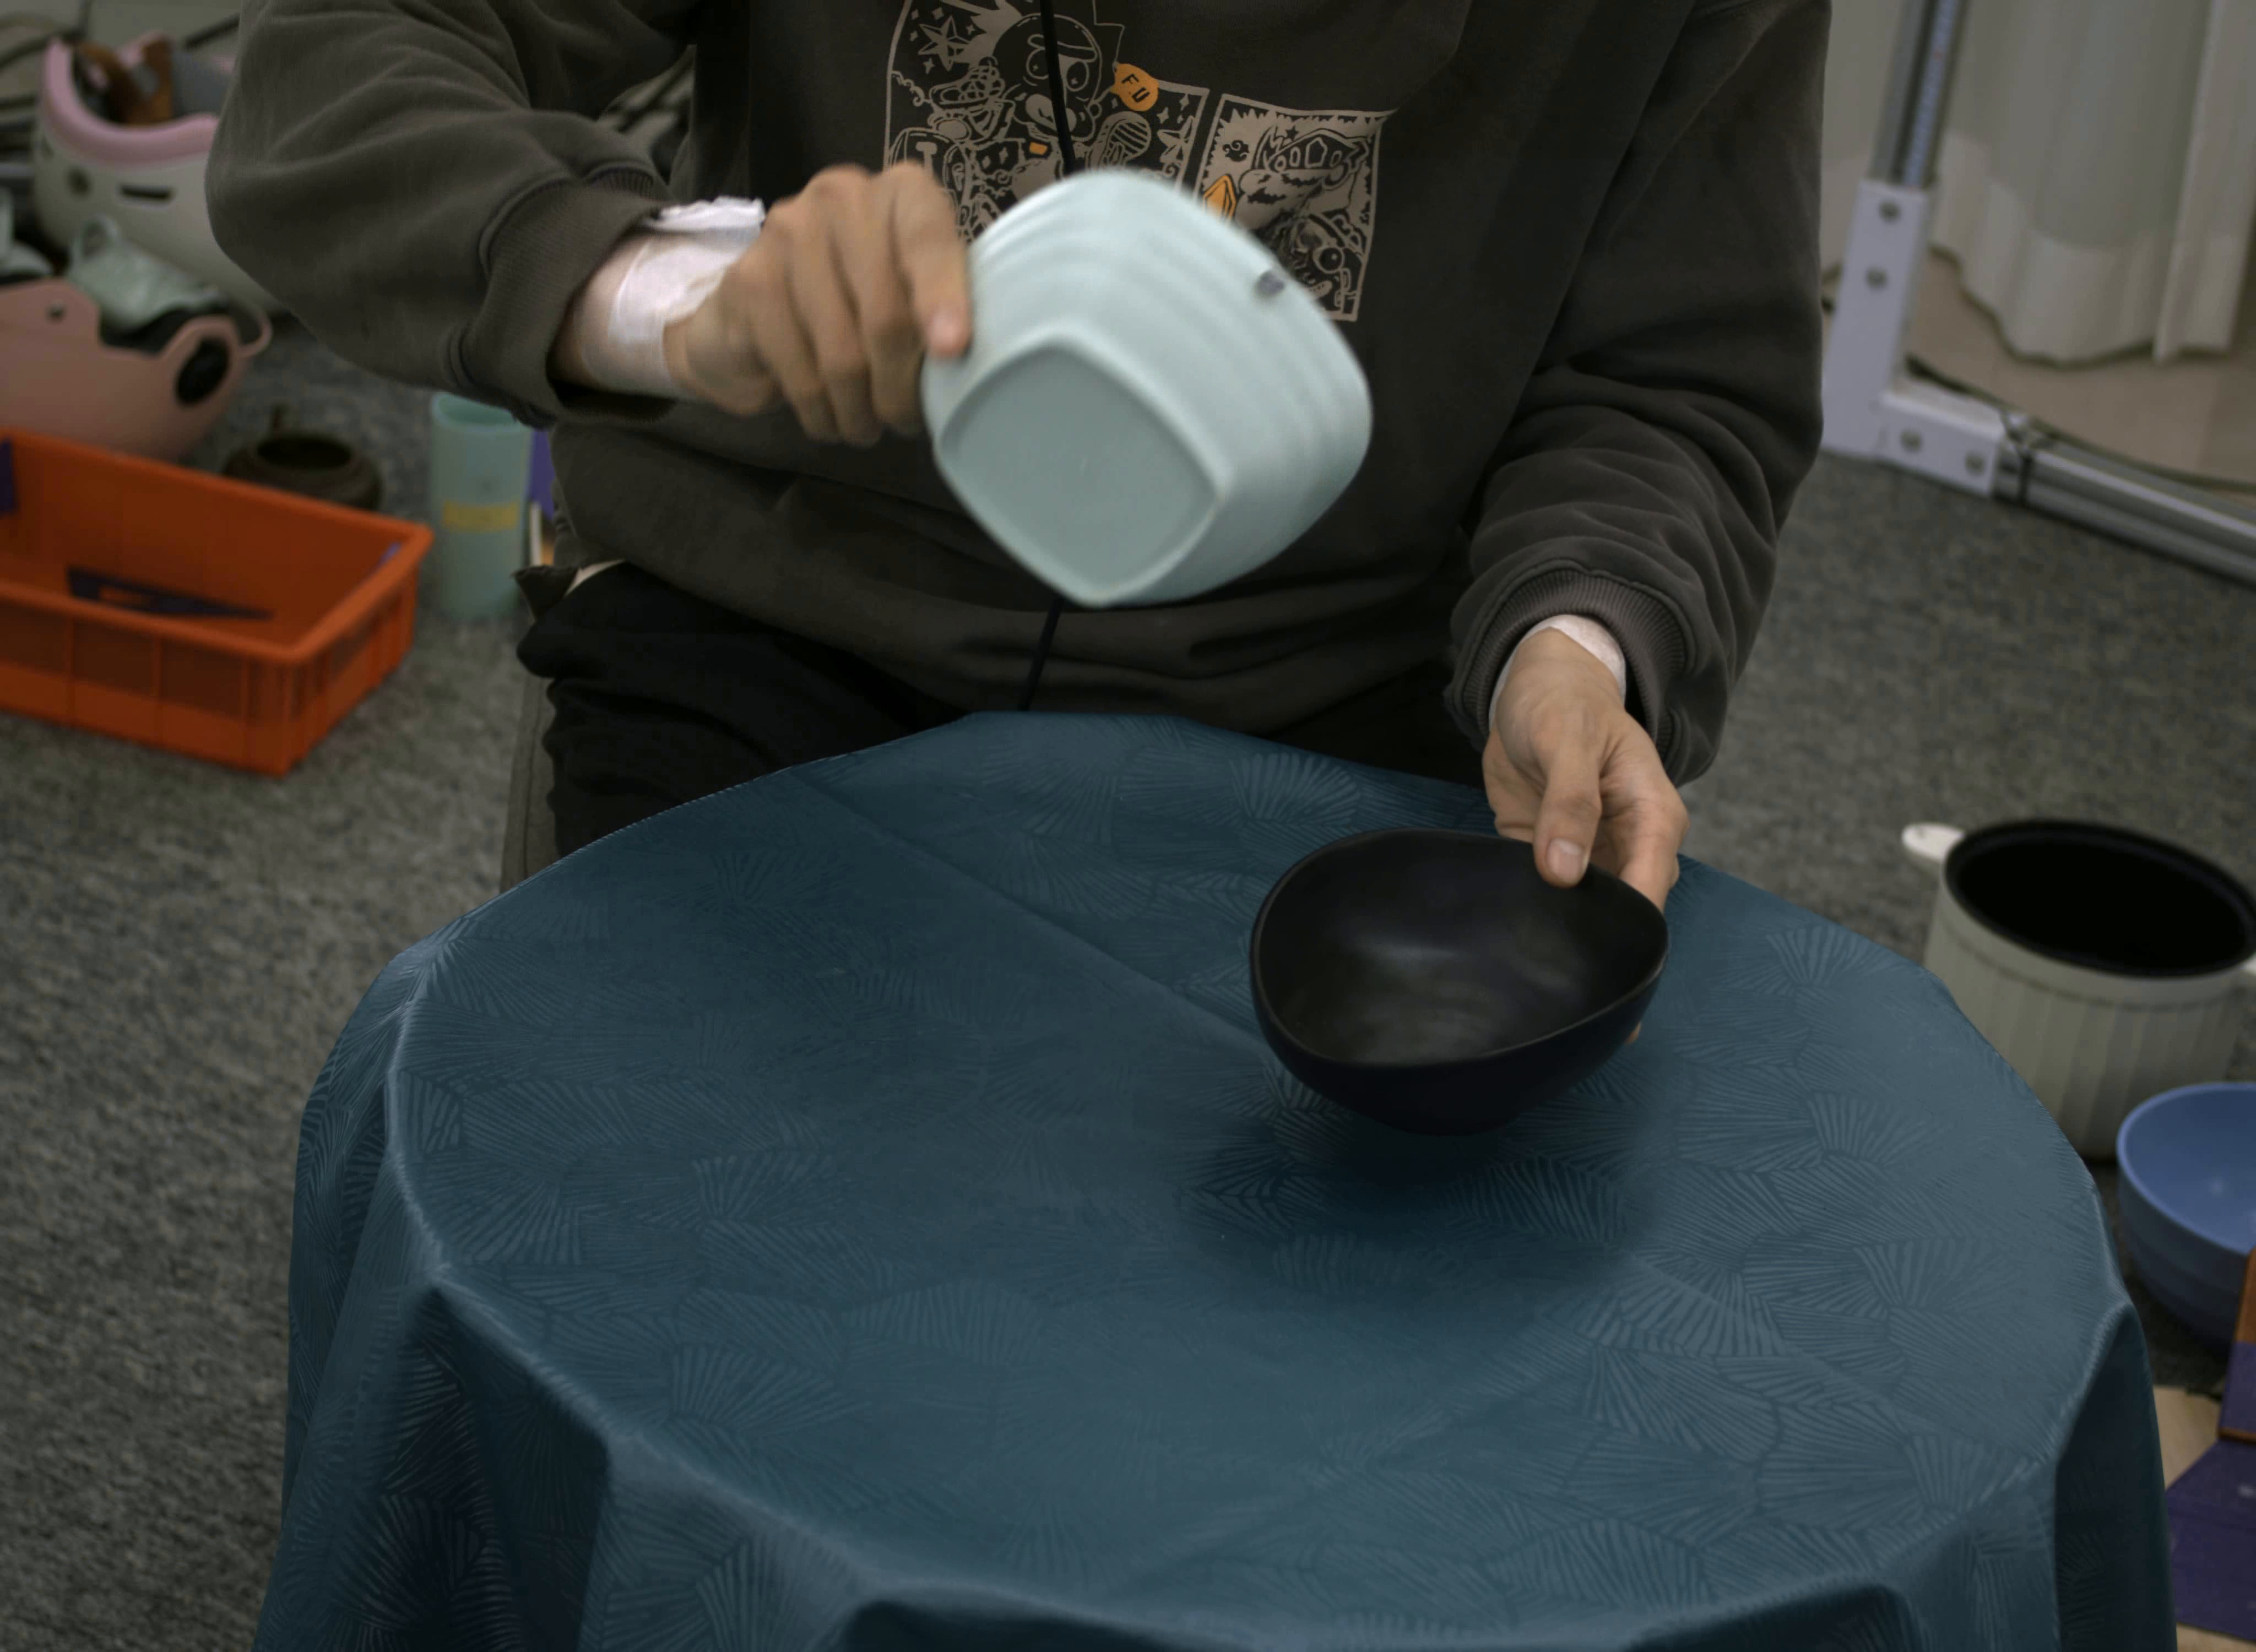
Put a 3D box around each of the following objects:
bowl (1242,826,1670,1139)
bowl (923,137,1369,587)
[{"bbox_3d":[0.111,0.064,1.841,0.138,0.066,0.170,22,32,28],"label":"bowl"},{"bbox_3d":[-0.005,-0.133,1.647,0.152,0.151,0.058,18,36,20],"label":"bowl"}]
